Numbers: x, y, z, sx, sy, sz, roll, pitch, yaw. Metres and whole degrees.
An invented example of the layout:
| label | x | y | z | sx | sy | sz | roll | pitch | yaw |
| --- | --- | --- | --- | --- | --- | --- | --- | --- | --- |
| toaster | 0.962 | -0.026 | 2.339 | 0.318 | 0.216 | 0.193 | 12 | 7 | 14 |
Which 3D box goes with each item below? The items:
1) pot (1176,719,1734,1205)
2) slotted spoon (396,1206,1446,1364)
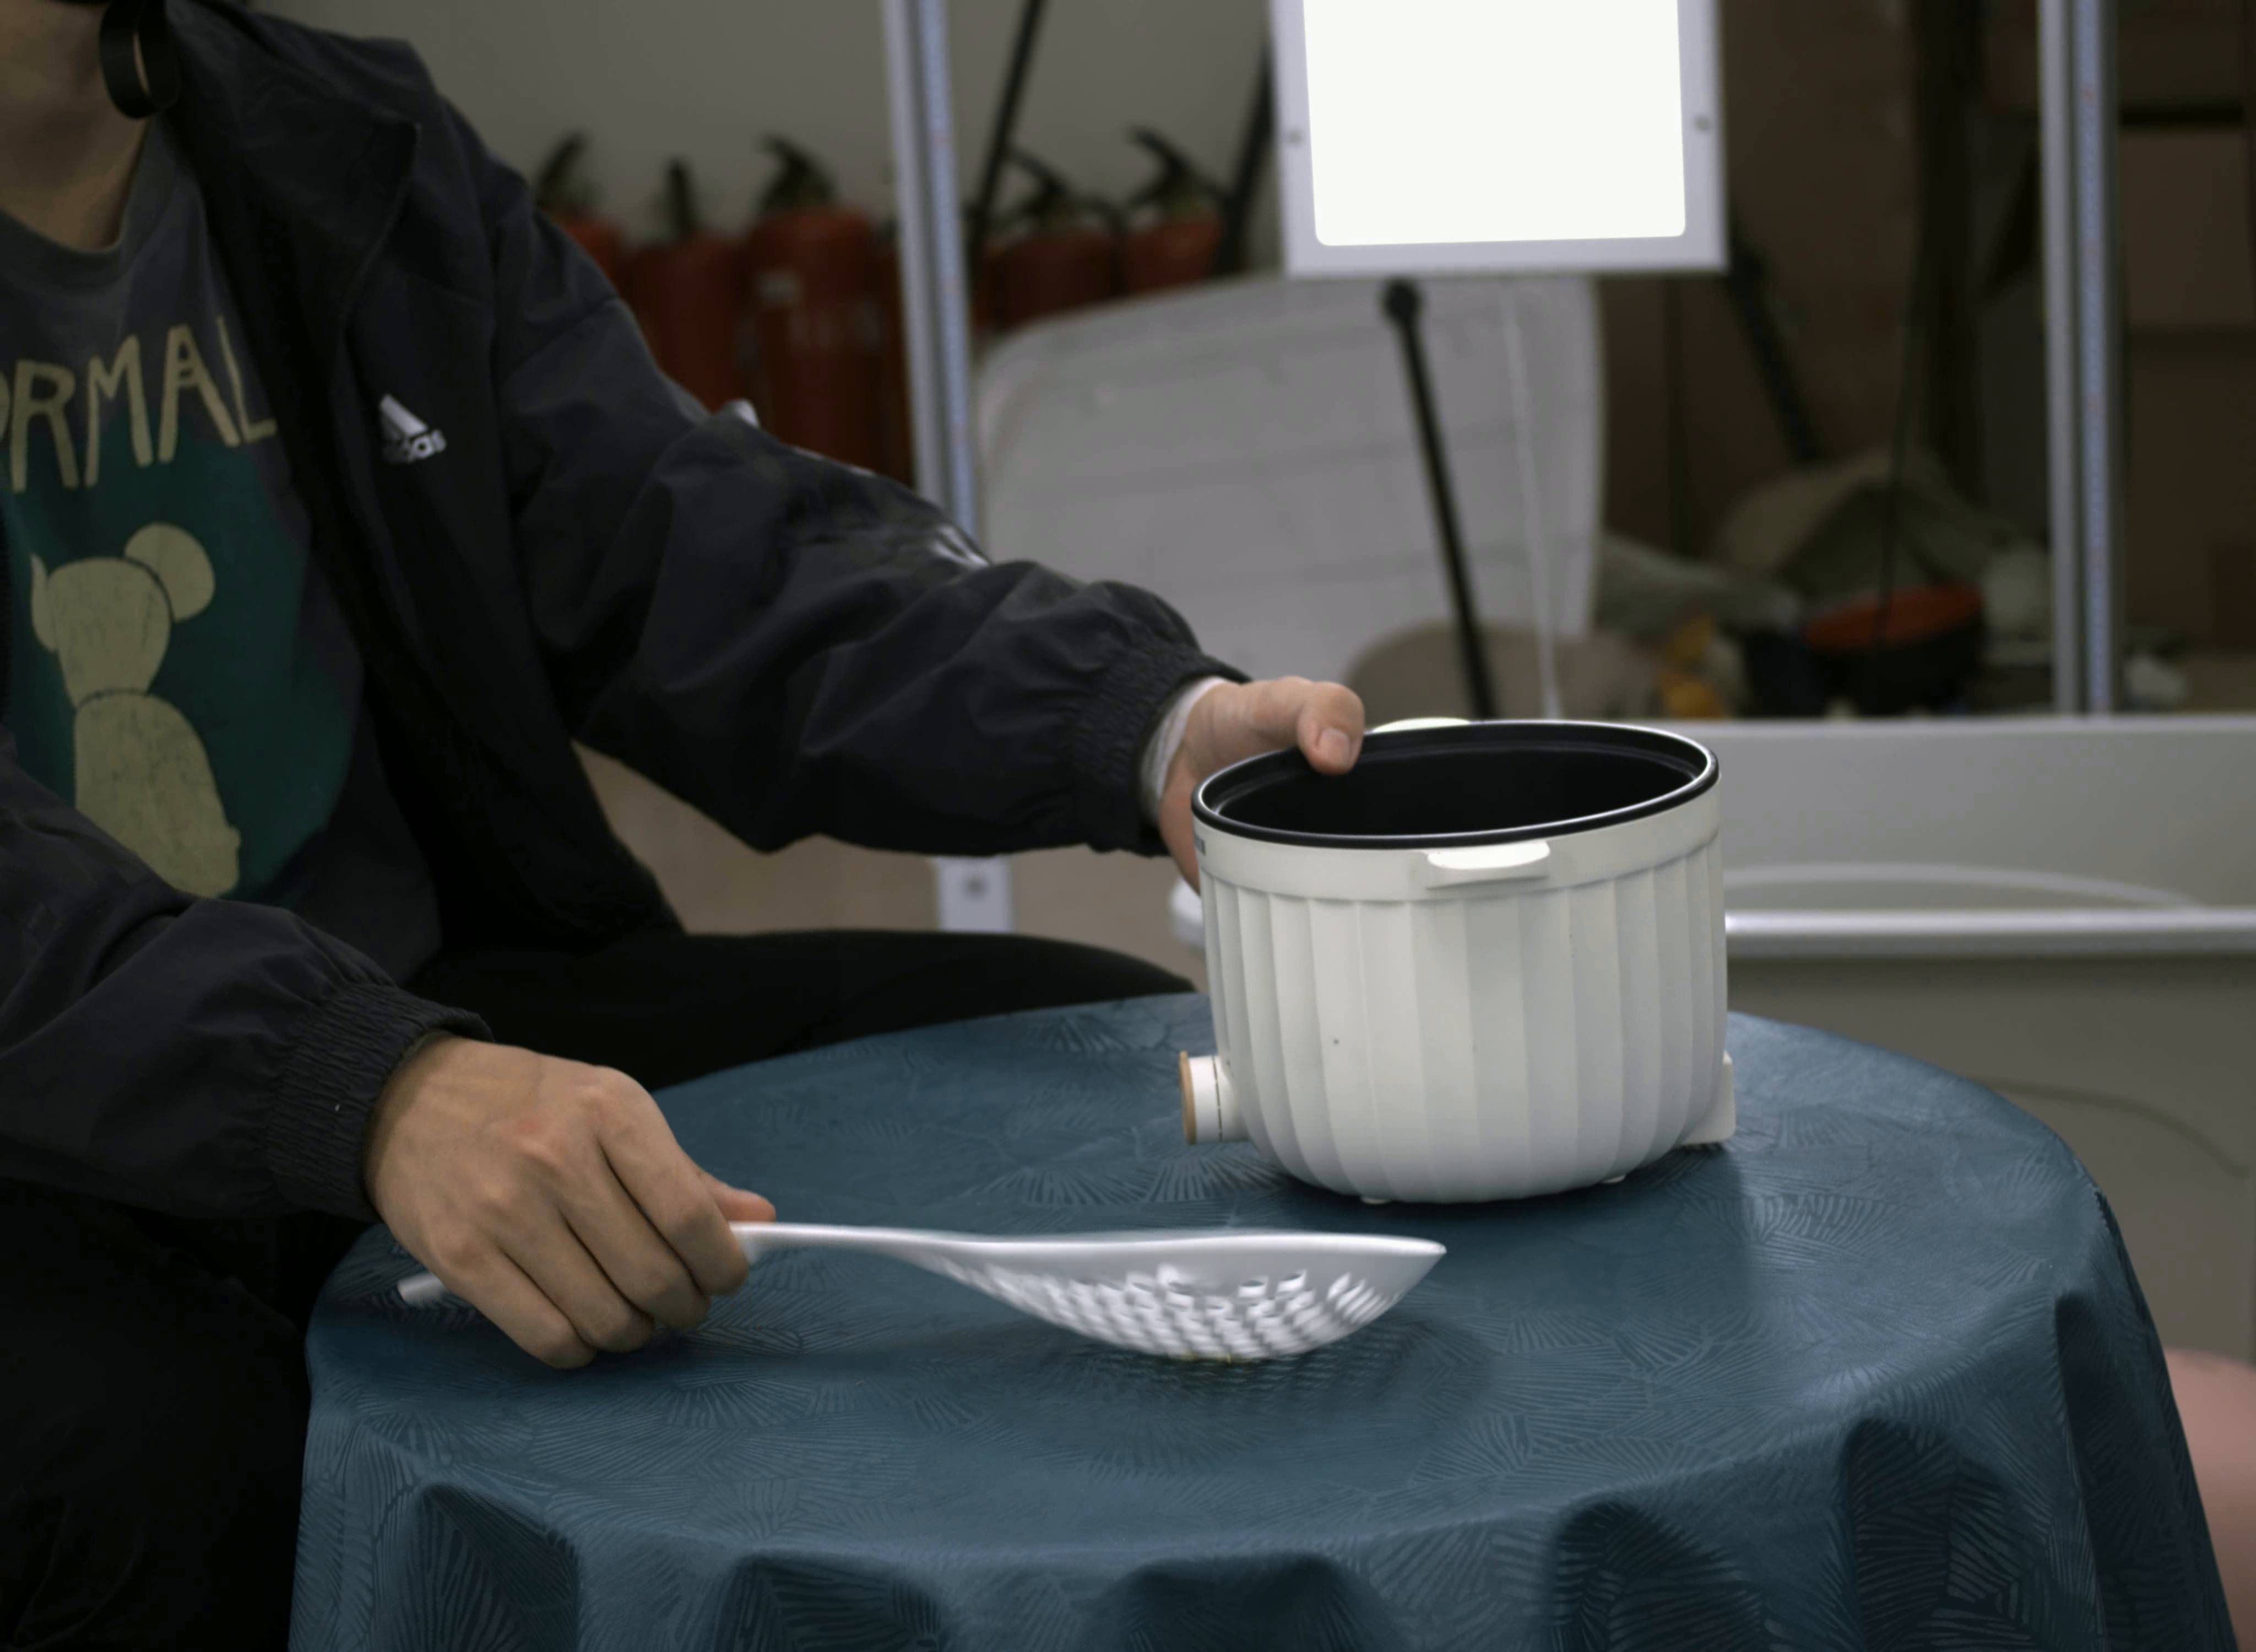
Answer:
| label | x | y | z | sx | sy | sz | roll | pitch | yaw |
| --- | --- | --- | --- | --- | --- | --- | --- | --- | --- |
| pot | 0.111 | 0.048 | 1.881 | 0.189 | 0.143 | 0.240 | -2 | 11 | -2 |
| slotted spoon | -0.071 | 0.143 | 1.748 | 0.353 | 0.050 | 0.134 | 2 | 2 | 21 |
